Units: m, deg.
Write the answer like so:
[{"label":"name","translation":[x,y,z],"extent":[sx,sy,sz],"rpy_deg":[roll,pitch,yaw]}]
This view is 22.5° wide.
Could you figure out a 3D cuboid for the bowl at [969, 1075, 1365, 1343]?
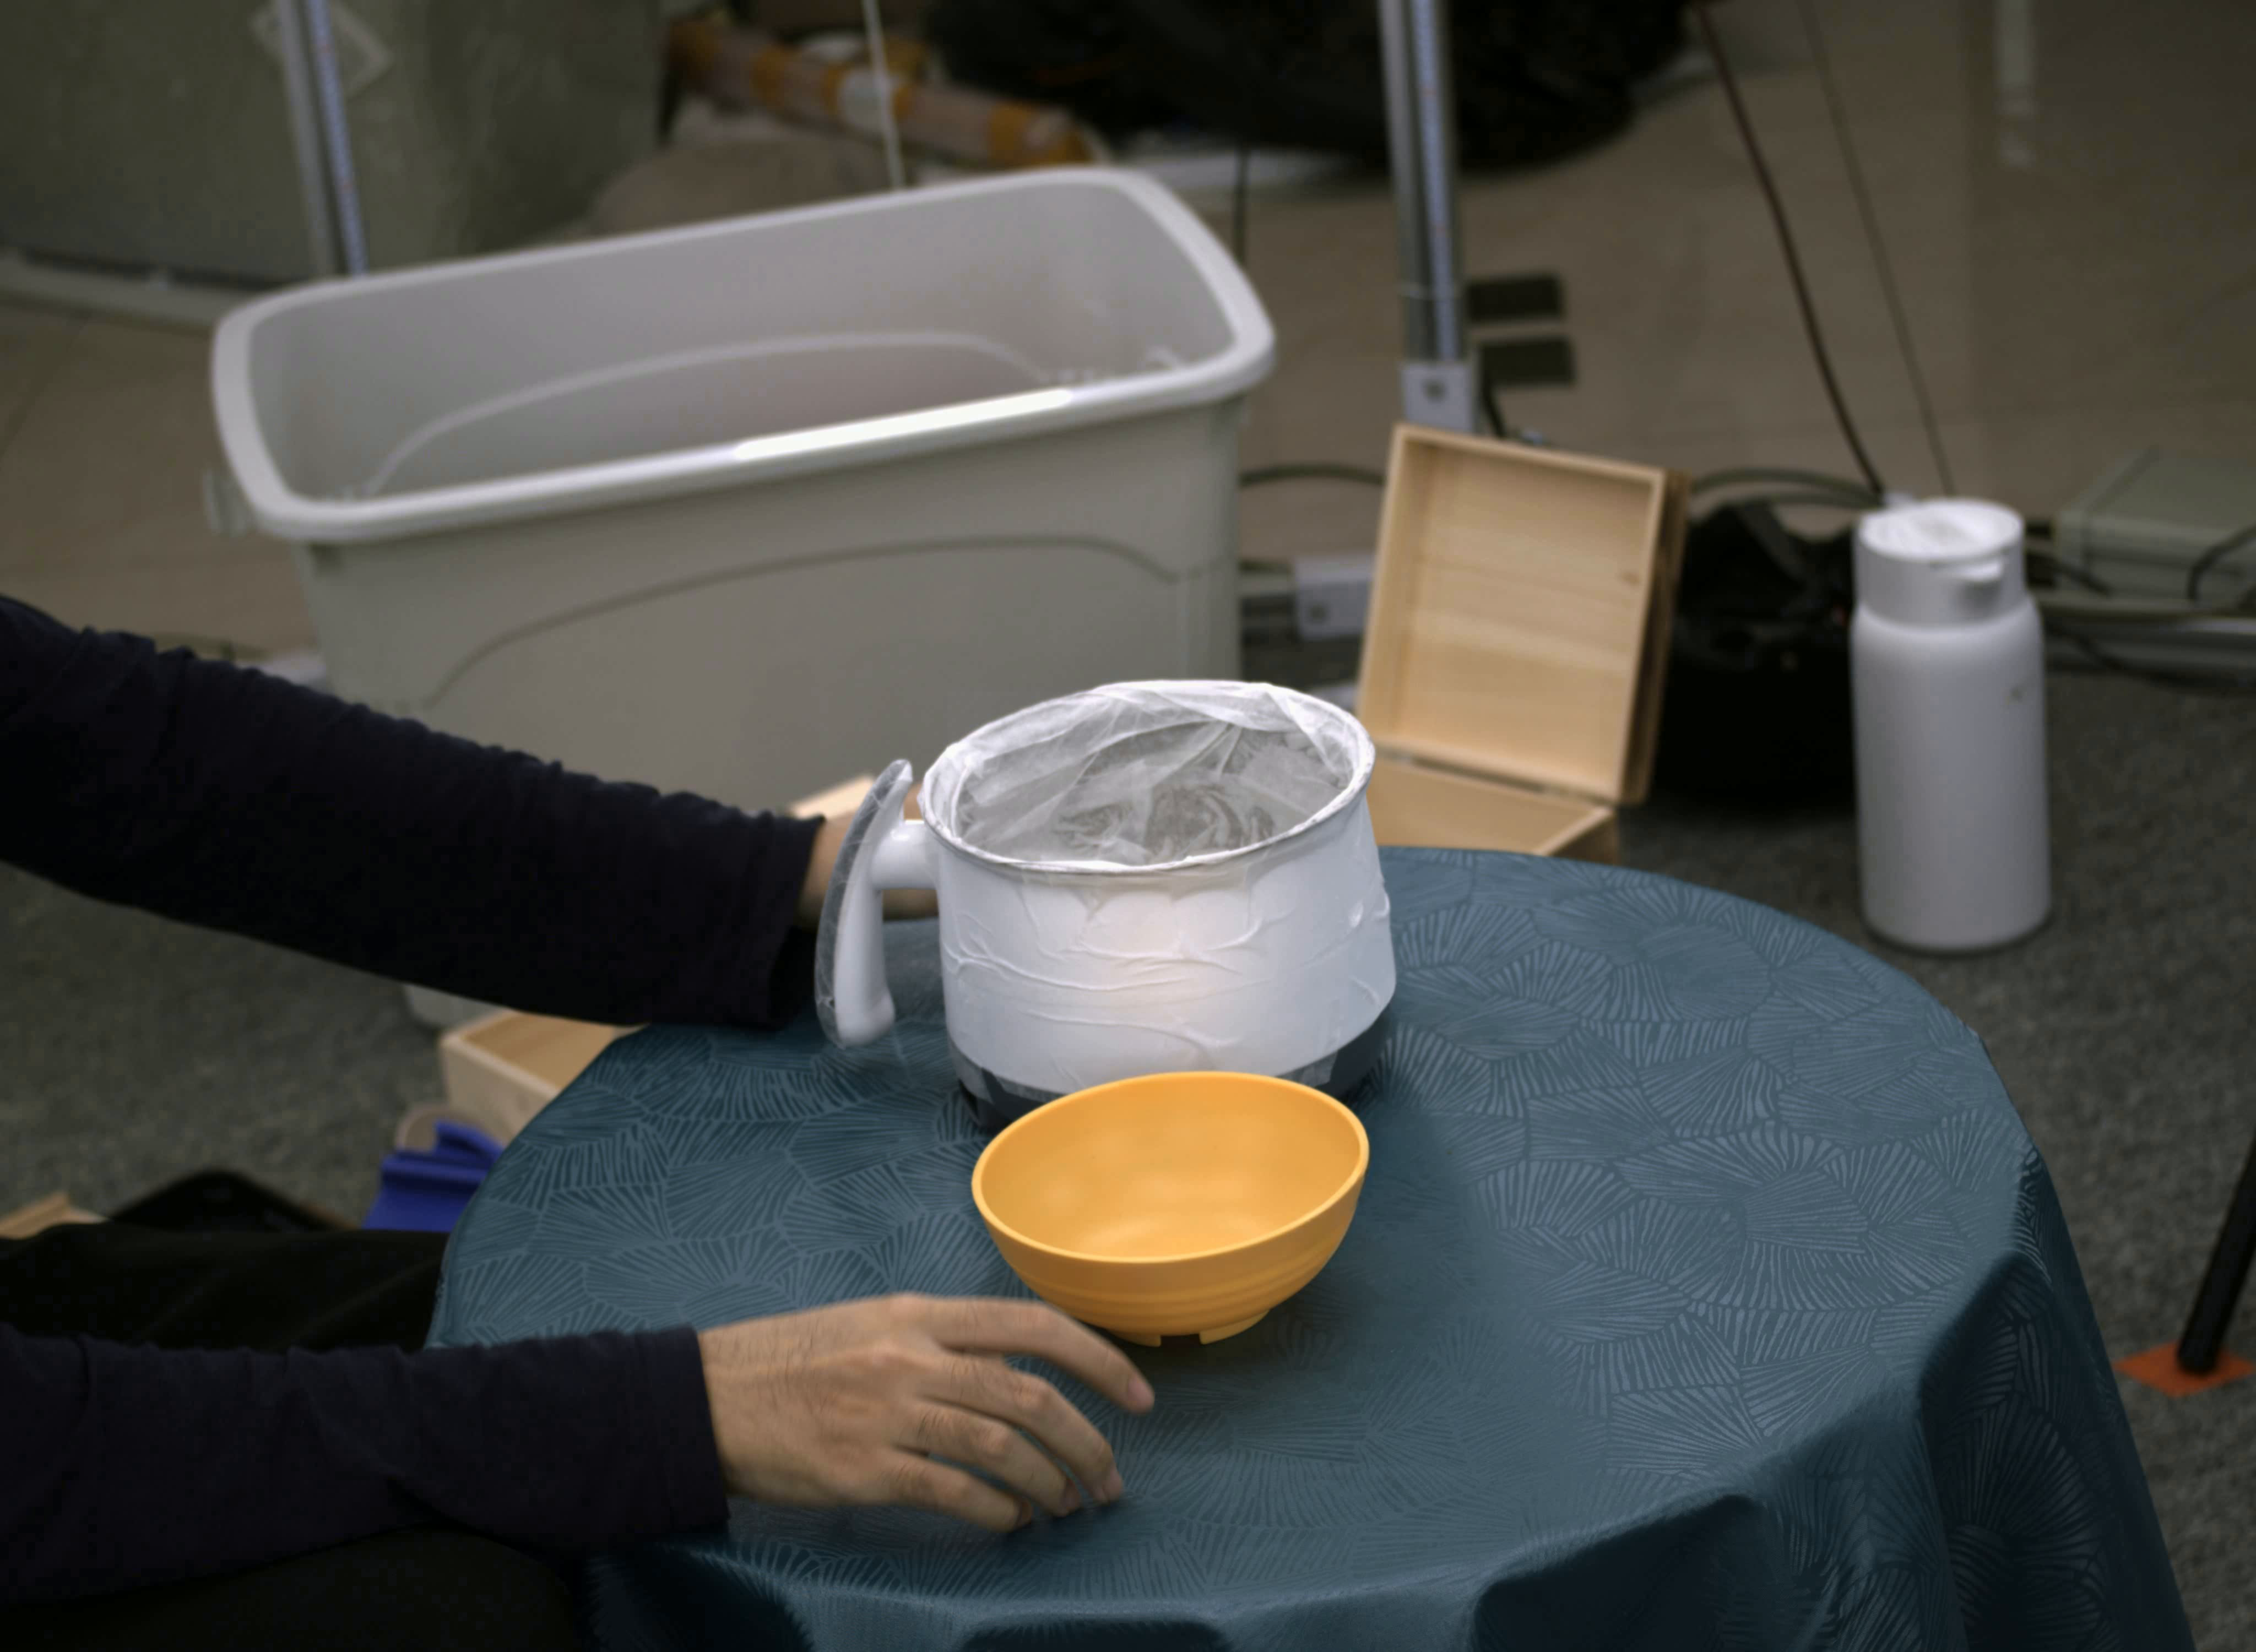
[{"label":"bowl","translation":[0.016,0.146,2.056],"extent":[0.145,0.061,0.143],"rpy_deg":[-4,24,2]}]

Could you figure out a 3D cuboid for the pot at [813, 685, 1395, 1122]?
[{"label":"pot","translation":[-0.013,0.036,2.210],"extent":[0.233,0.138,0.176],"rpy_deg":[0,23,13]}]
